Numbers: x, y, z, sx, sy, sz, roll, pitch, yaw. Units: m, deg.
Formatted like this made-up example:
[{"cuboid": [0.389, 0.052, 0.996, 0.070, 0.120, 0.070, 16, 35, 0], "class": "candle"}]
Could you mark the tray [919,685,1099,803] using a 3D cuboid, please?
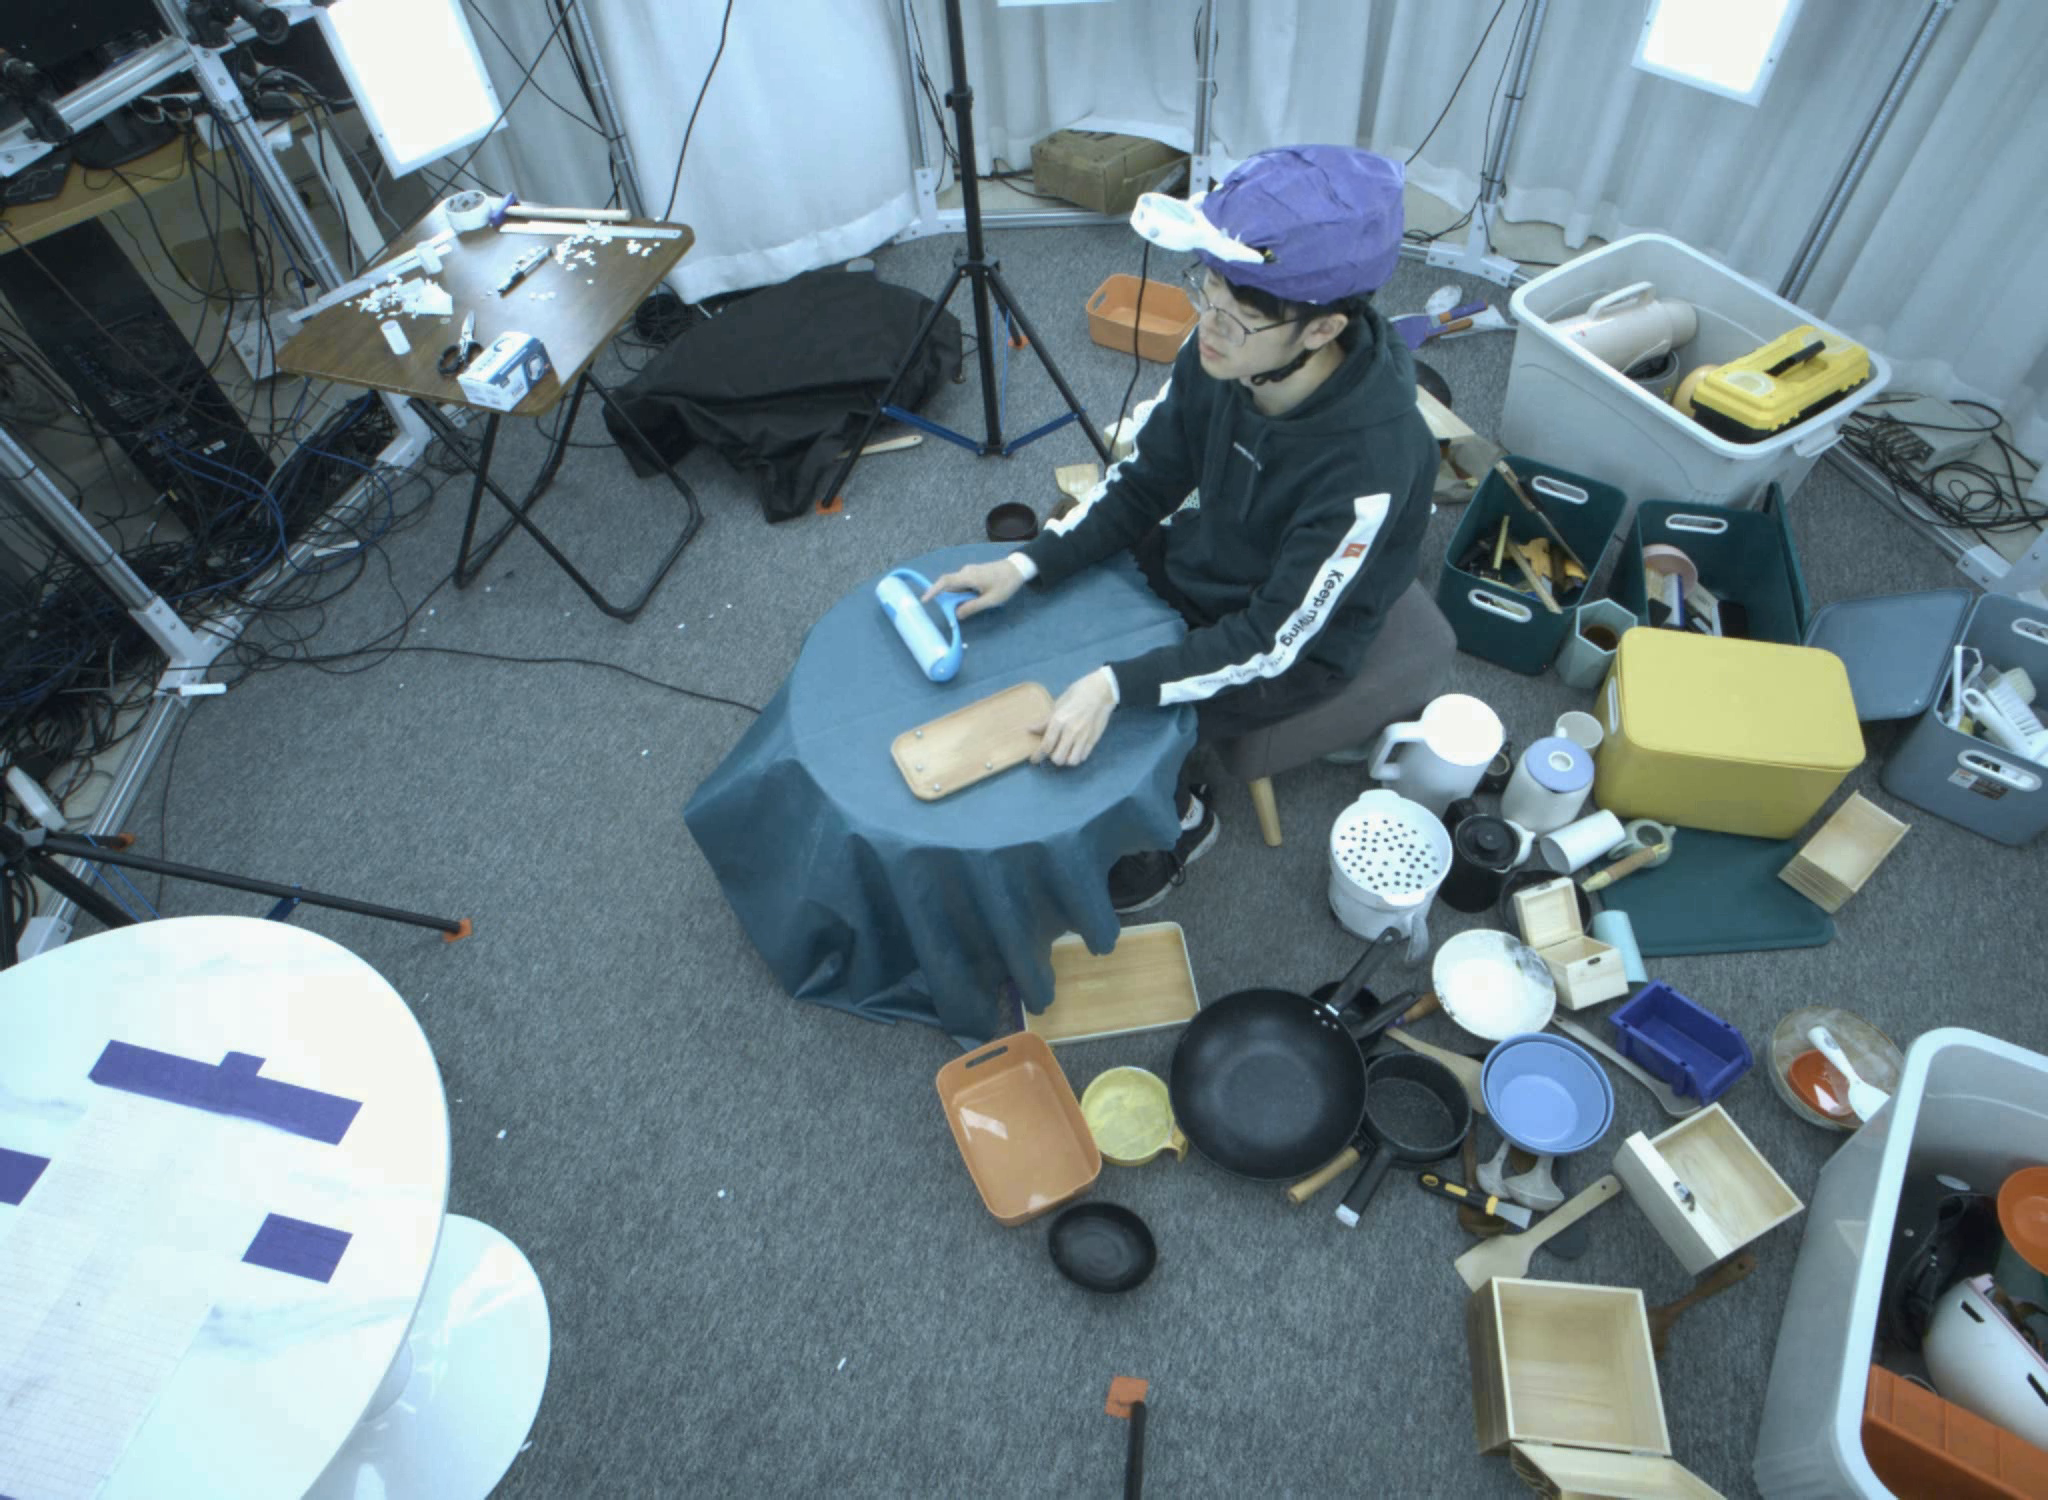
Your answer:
[{"cuboid": [-0.022, -0.010, 1.780, 0.252, 0.023, 0.128, -21, 59, -13], "class": "tray"}]

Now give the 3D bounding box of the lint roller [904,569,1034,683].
[{"cuboid": [-0.070, -0.214, 1.902, 0.181, 0.069, 0.224, -27, 56, -14], "class": "lint roller"}]
